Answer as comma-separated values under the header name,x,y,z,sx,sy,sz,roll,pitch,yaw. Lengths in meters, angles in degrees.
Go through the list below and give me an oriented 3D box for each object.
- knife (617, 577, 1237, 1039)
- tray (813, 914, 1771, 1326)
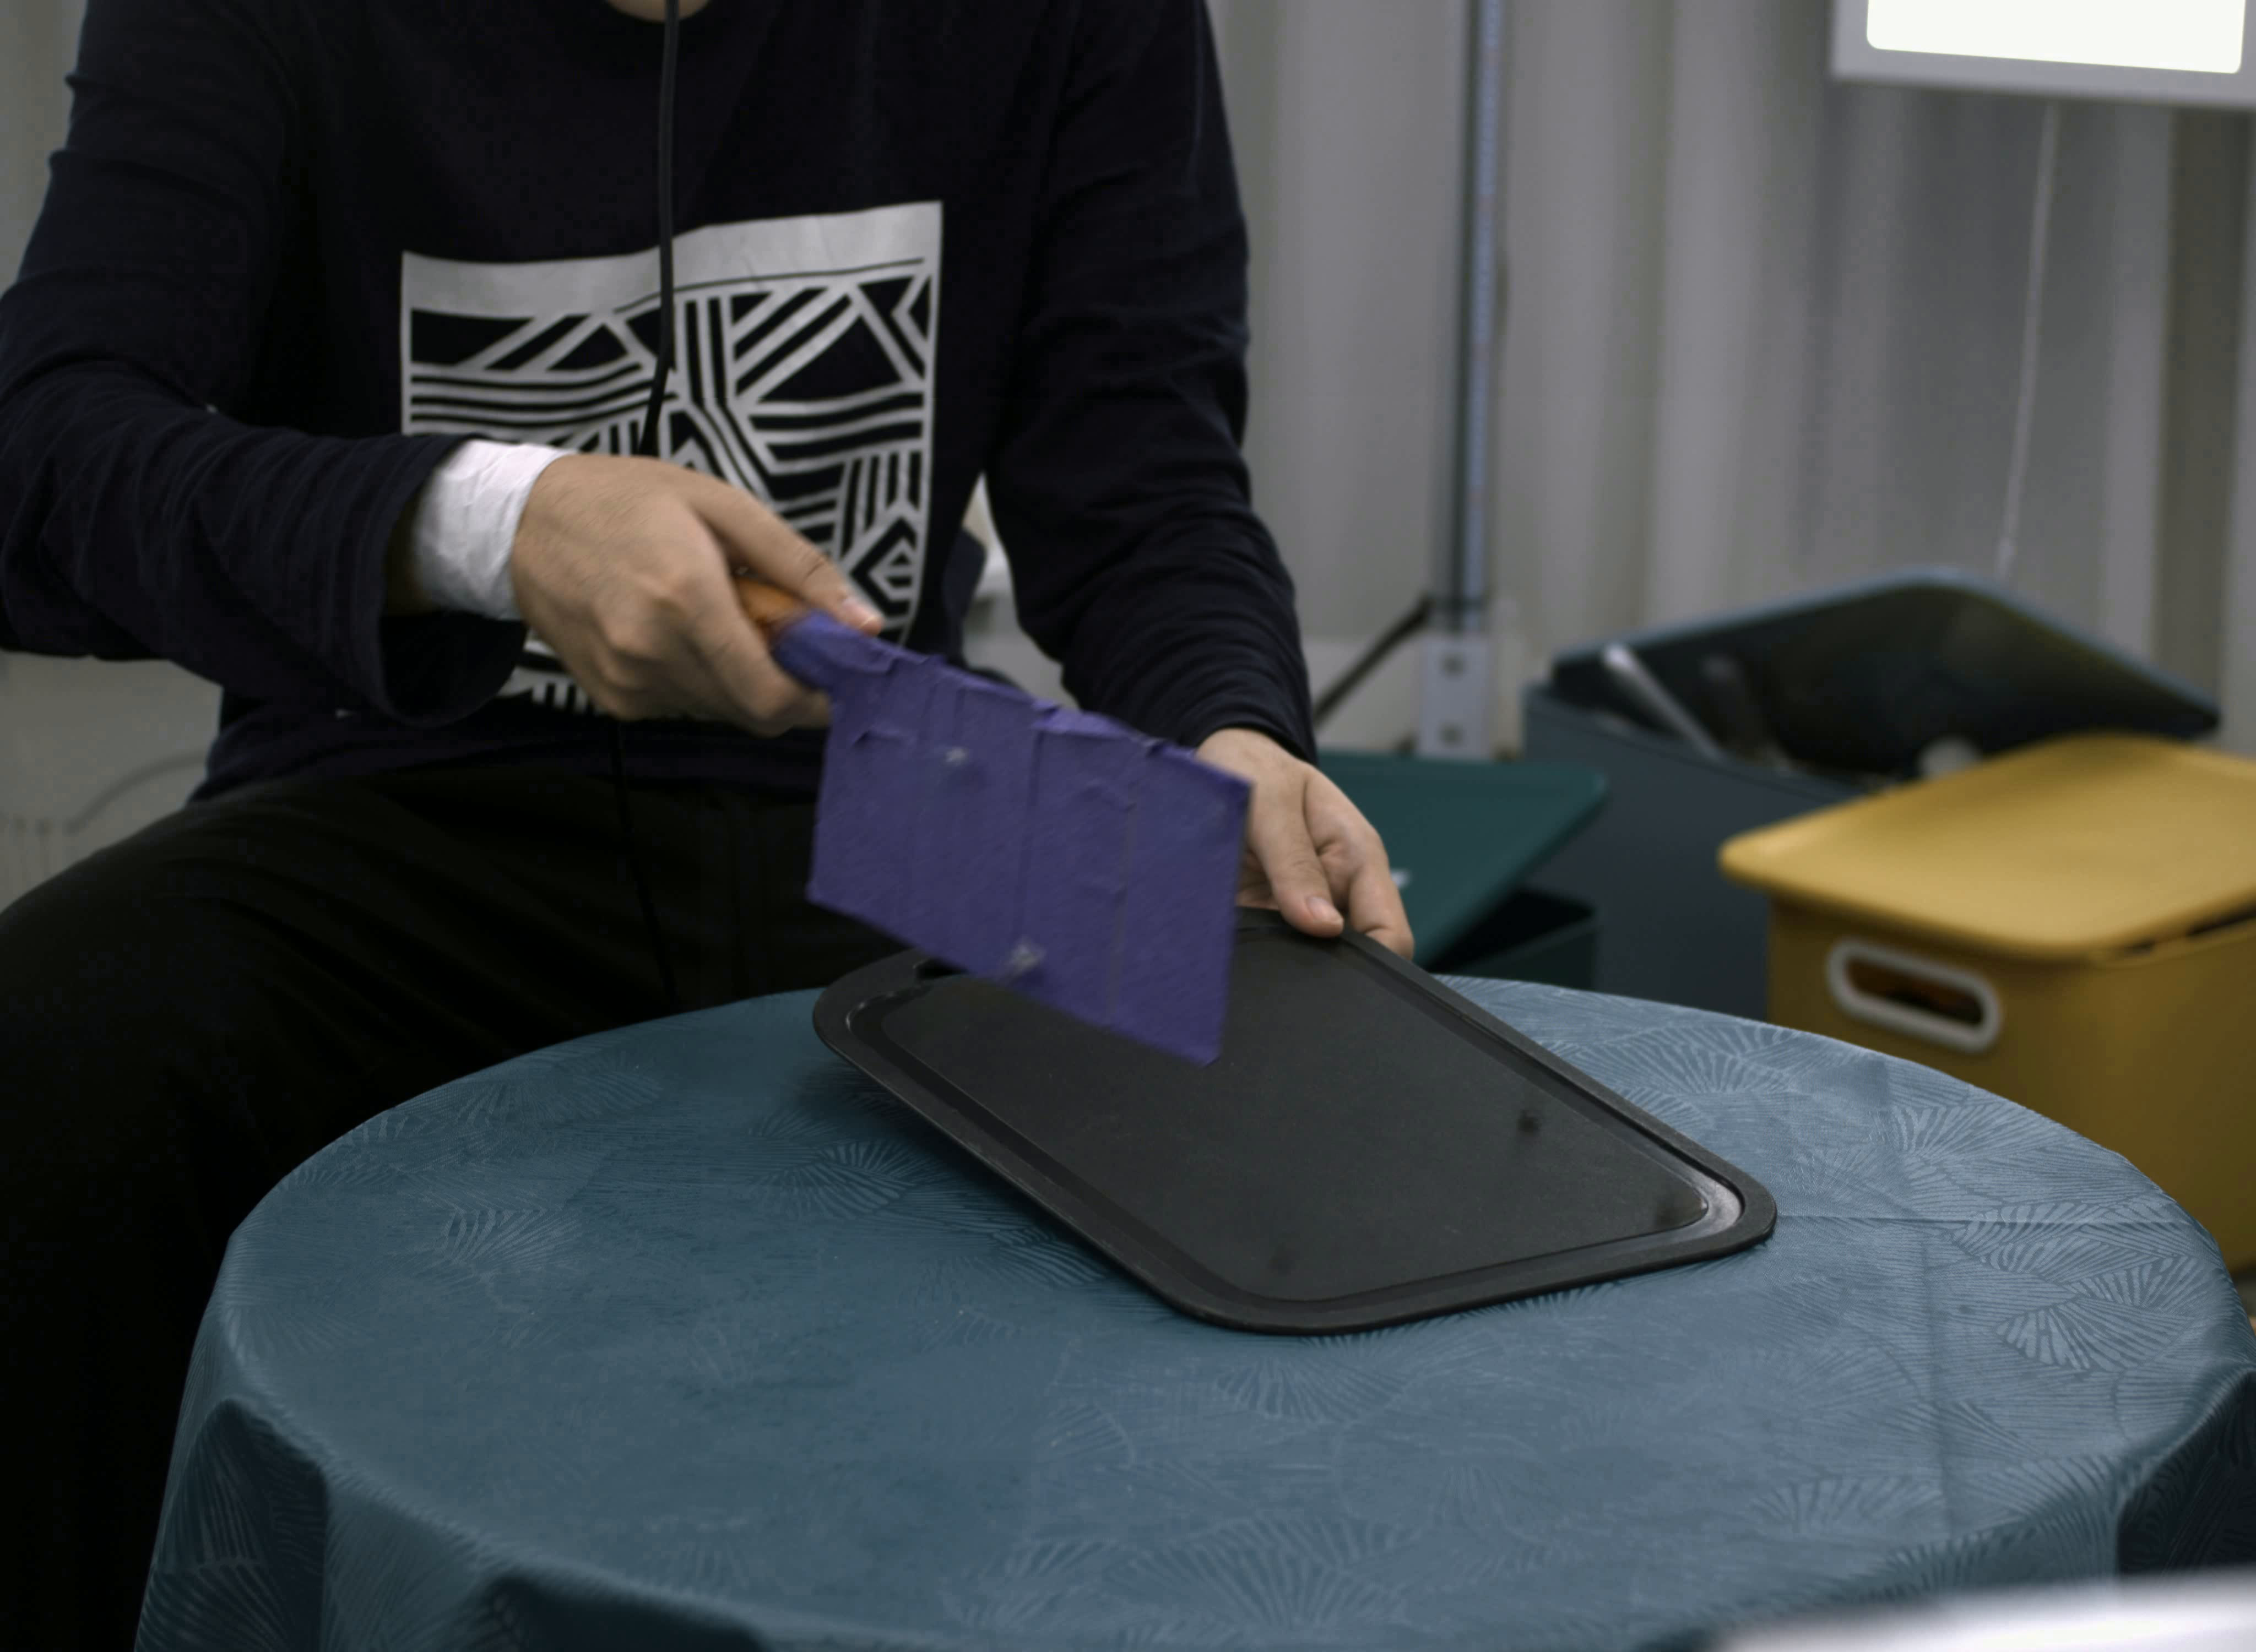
name,x,y,z,sx,sy,sz,roll,pitch,yaw
knife,-0.072,-0.007,1.641,0.032,0.104,0.311,2,12,-38
tray,0.041,0.084,1.667,0.212,0.010,0.321,-8,22,-29
